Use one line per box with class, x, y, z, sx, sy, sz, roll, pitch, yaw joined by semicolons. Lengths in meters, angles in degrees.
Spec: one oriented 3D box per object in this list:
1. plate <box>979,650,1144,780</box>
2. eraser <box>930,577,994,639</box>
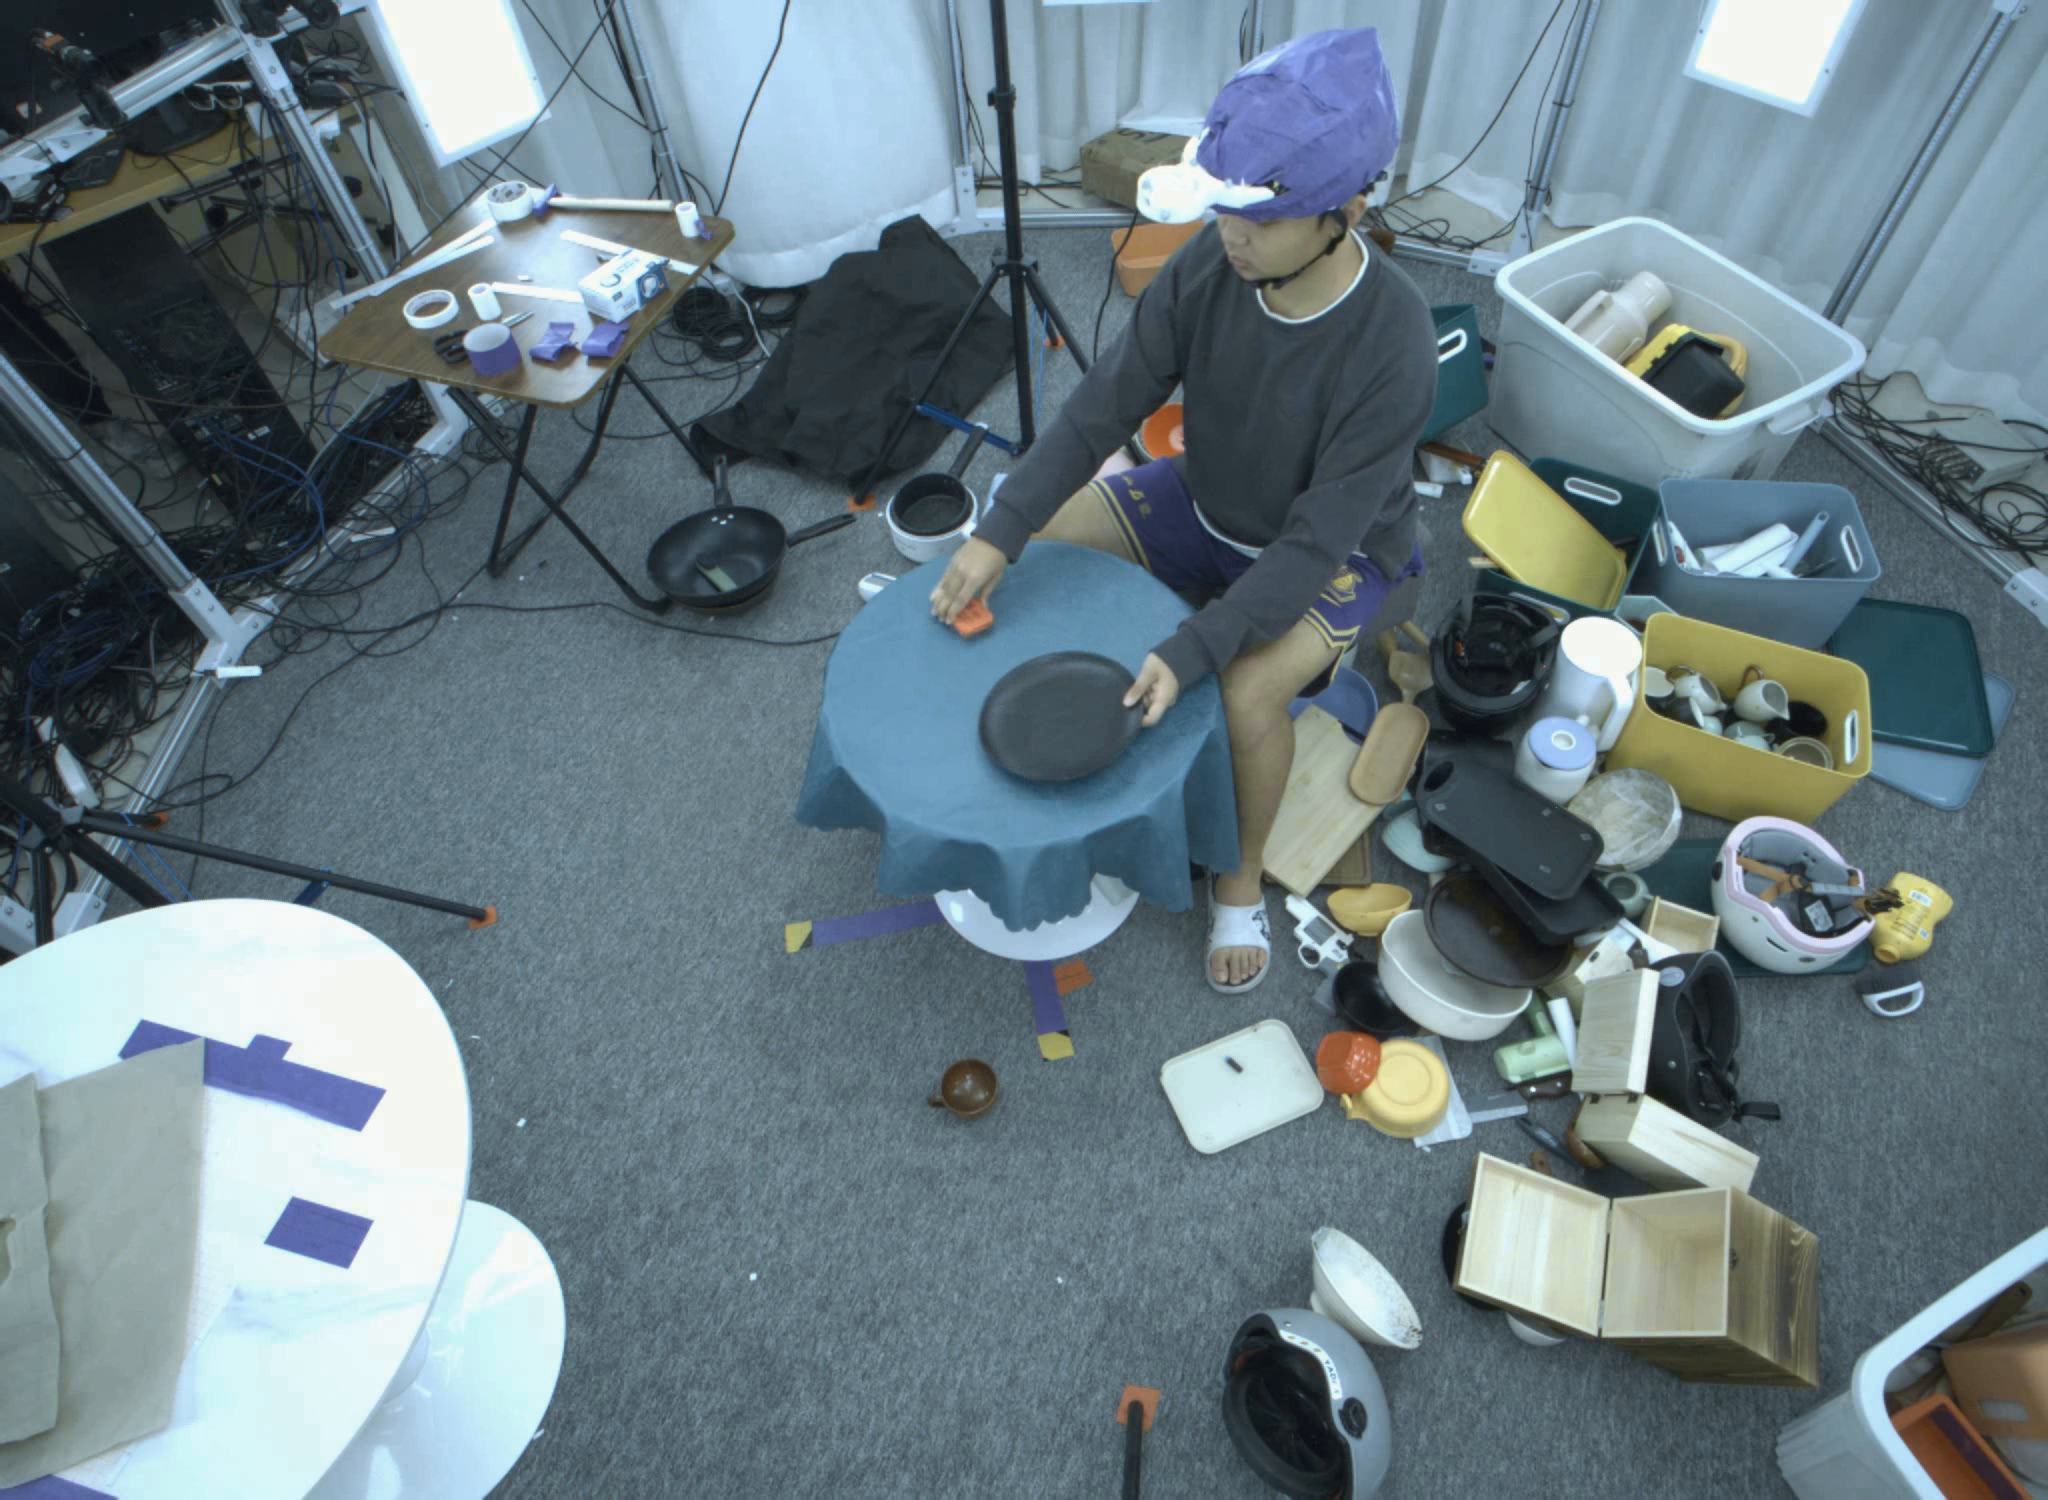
plate;0.054;-0.049;1.790;0.243;0.024;0.242;-6;51;9
eraser;-0.098;-0.224;1.932;0.059;0.023;0.106;-30;62;-19
